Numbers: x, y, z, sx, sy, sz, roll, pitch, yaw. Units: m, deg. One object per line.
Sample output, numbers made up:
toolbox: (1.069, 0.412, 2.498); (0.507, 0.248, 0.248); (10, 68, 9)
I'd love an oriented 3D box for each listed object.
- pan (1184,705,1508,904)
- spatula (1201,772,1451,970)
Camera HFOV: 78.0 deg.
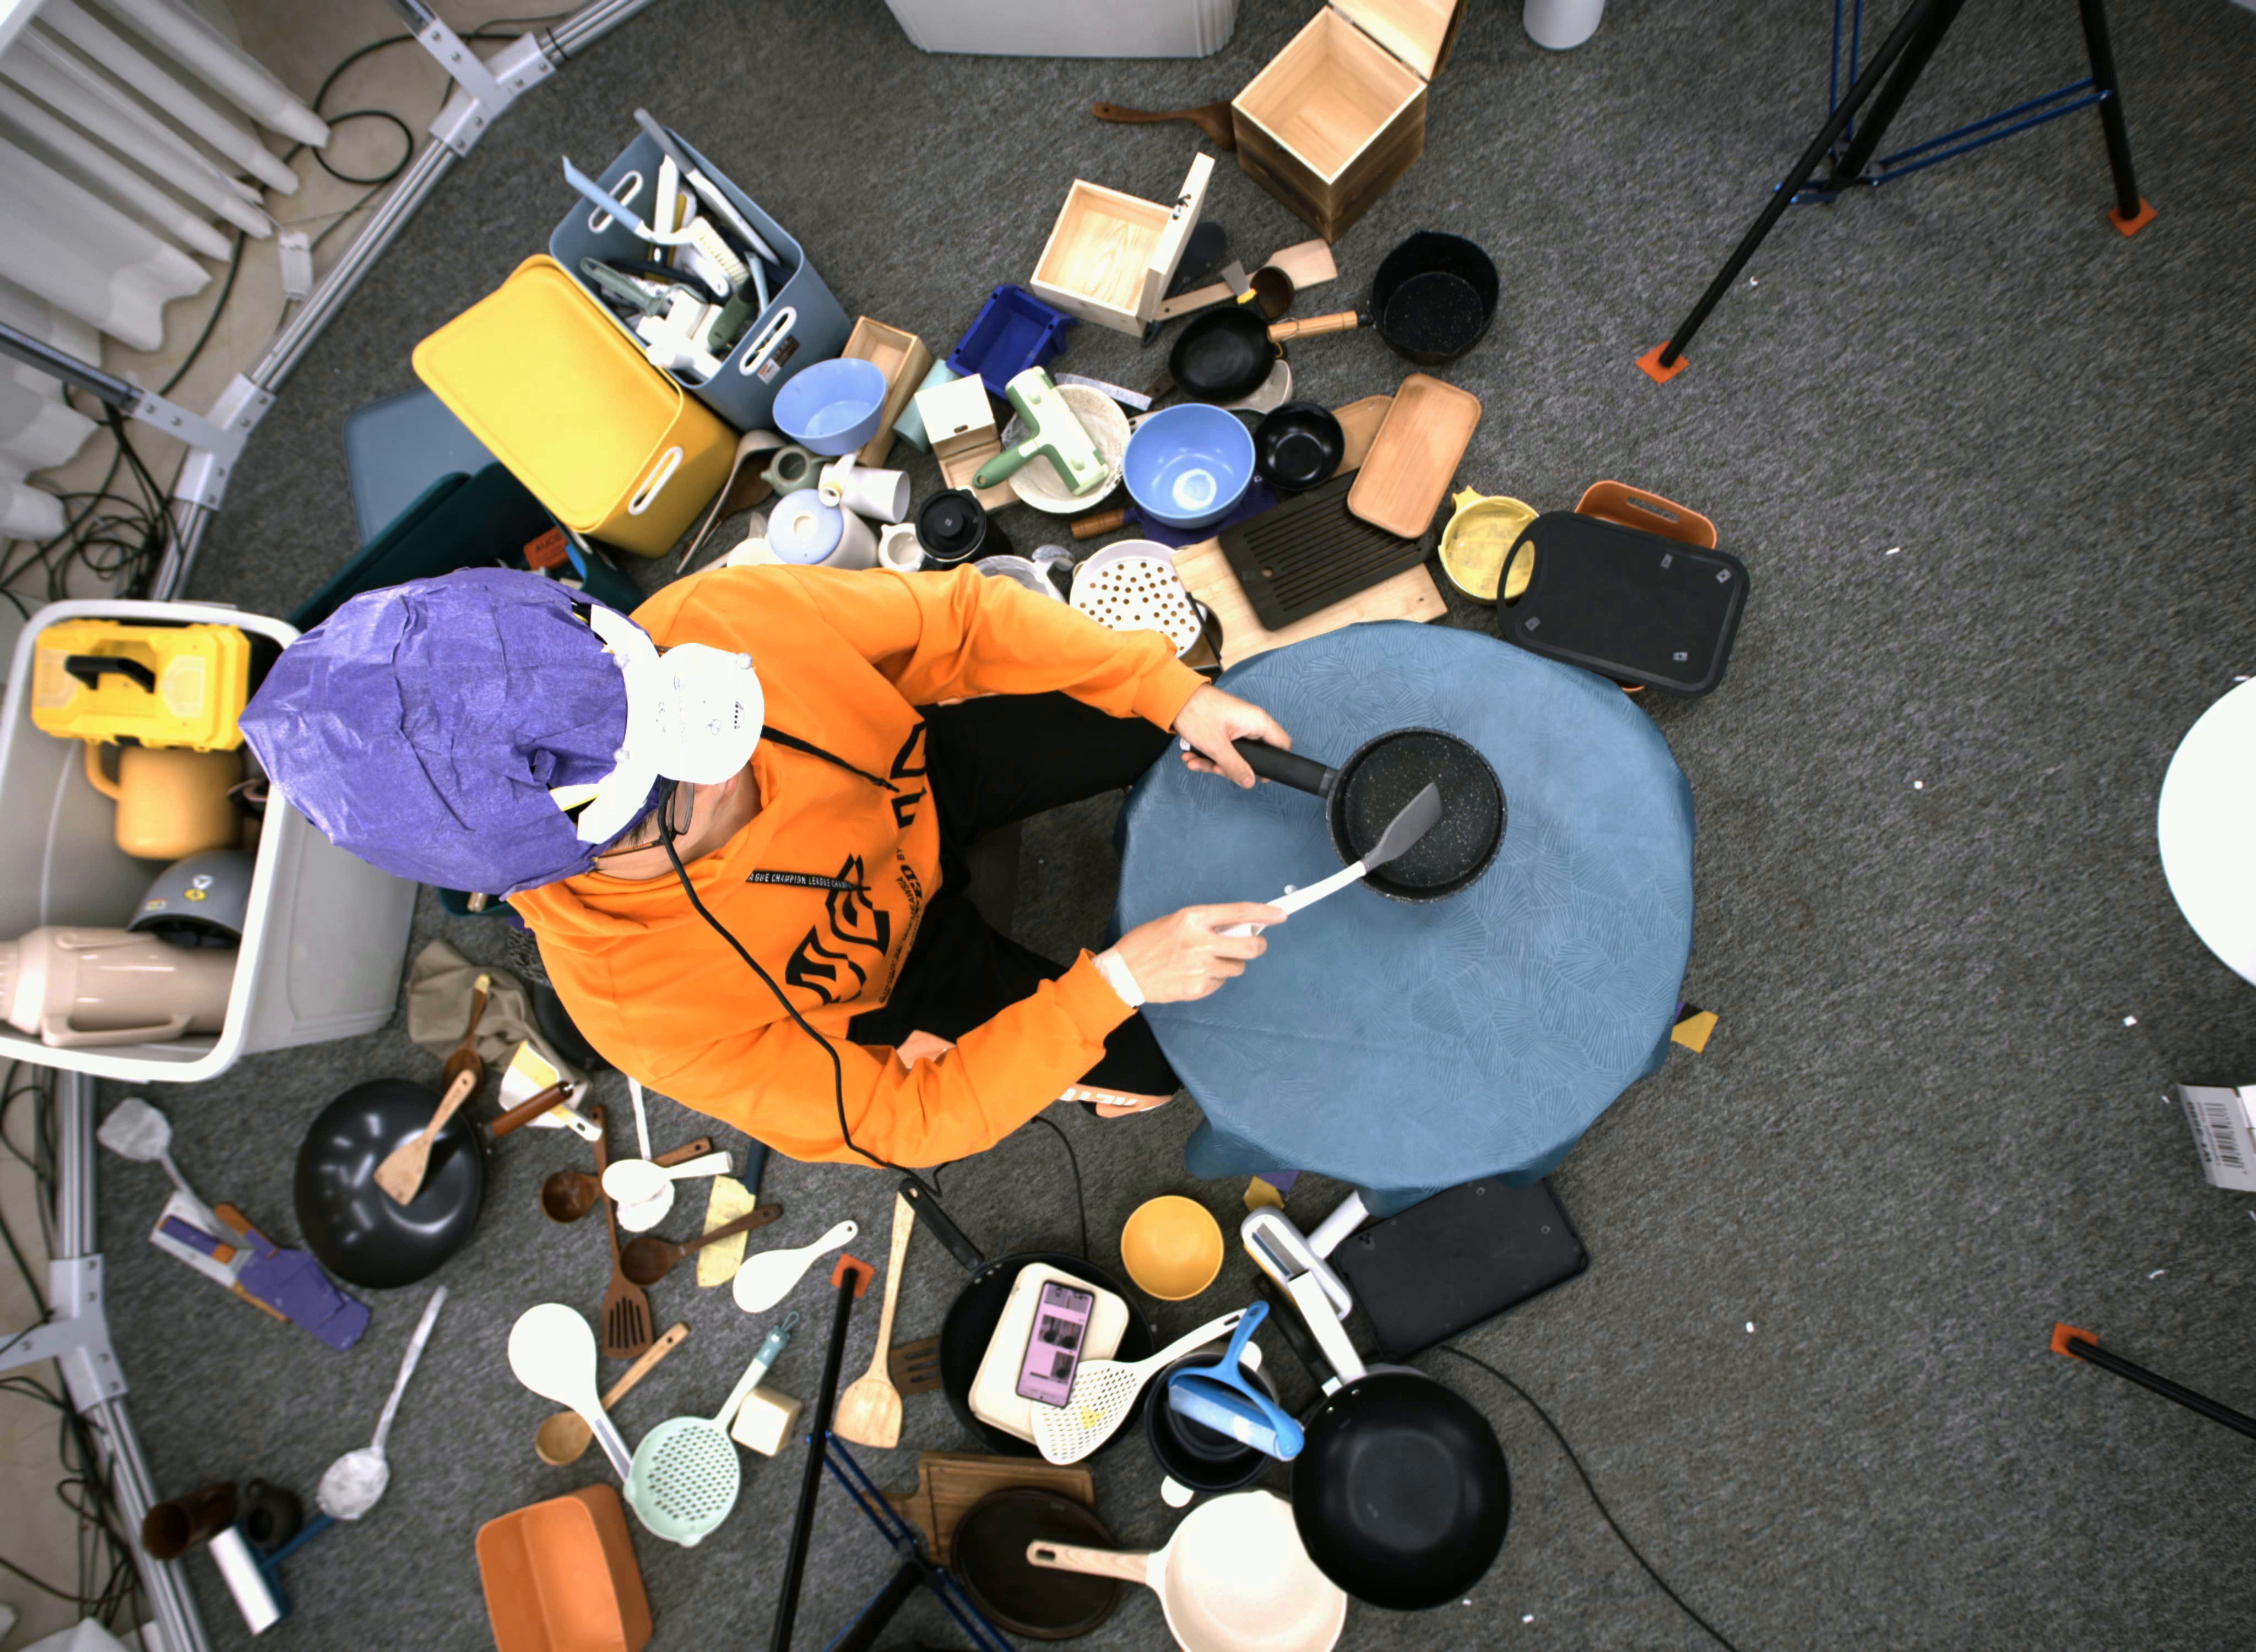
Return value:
pan: (0.214, -0.043, 1.371); (0.328, 0.085, 0.173); (23, 101, 11)
spatula: (0.195, 0.043, 1.312); (0.287, 0.060, 0.031); (-34, 50, -3)
